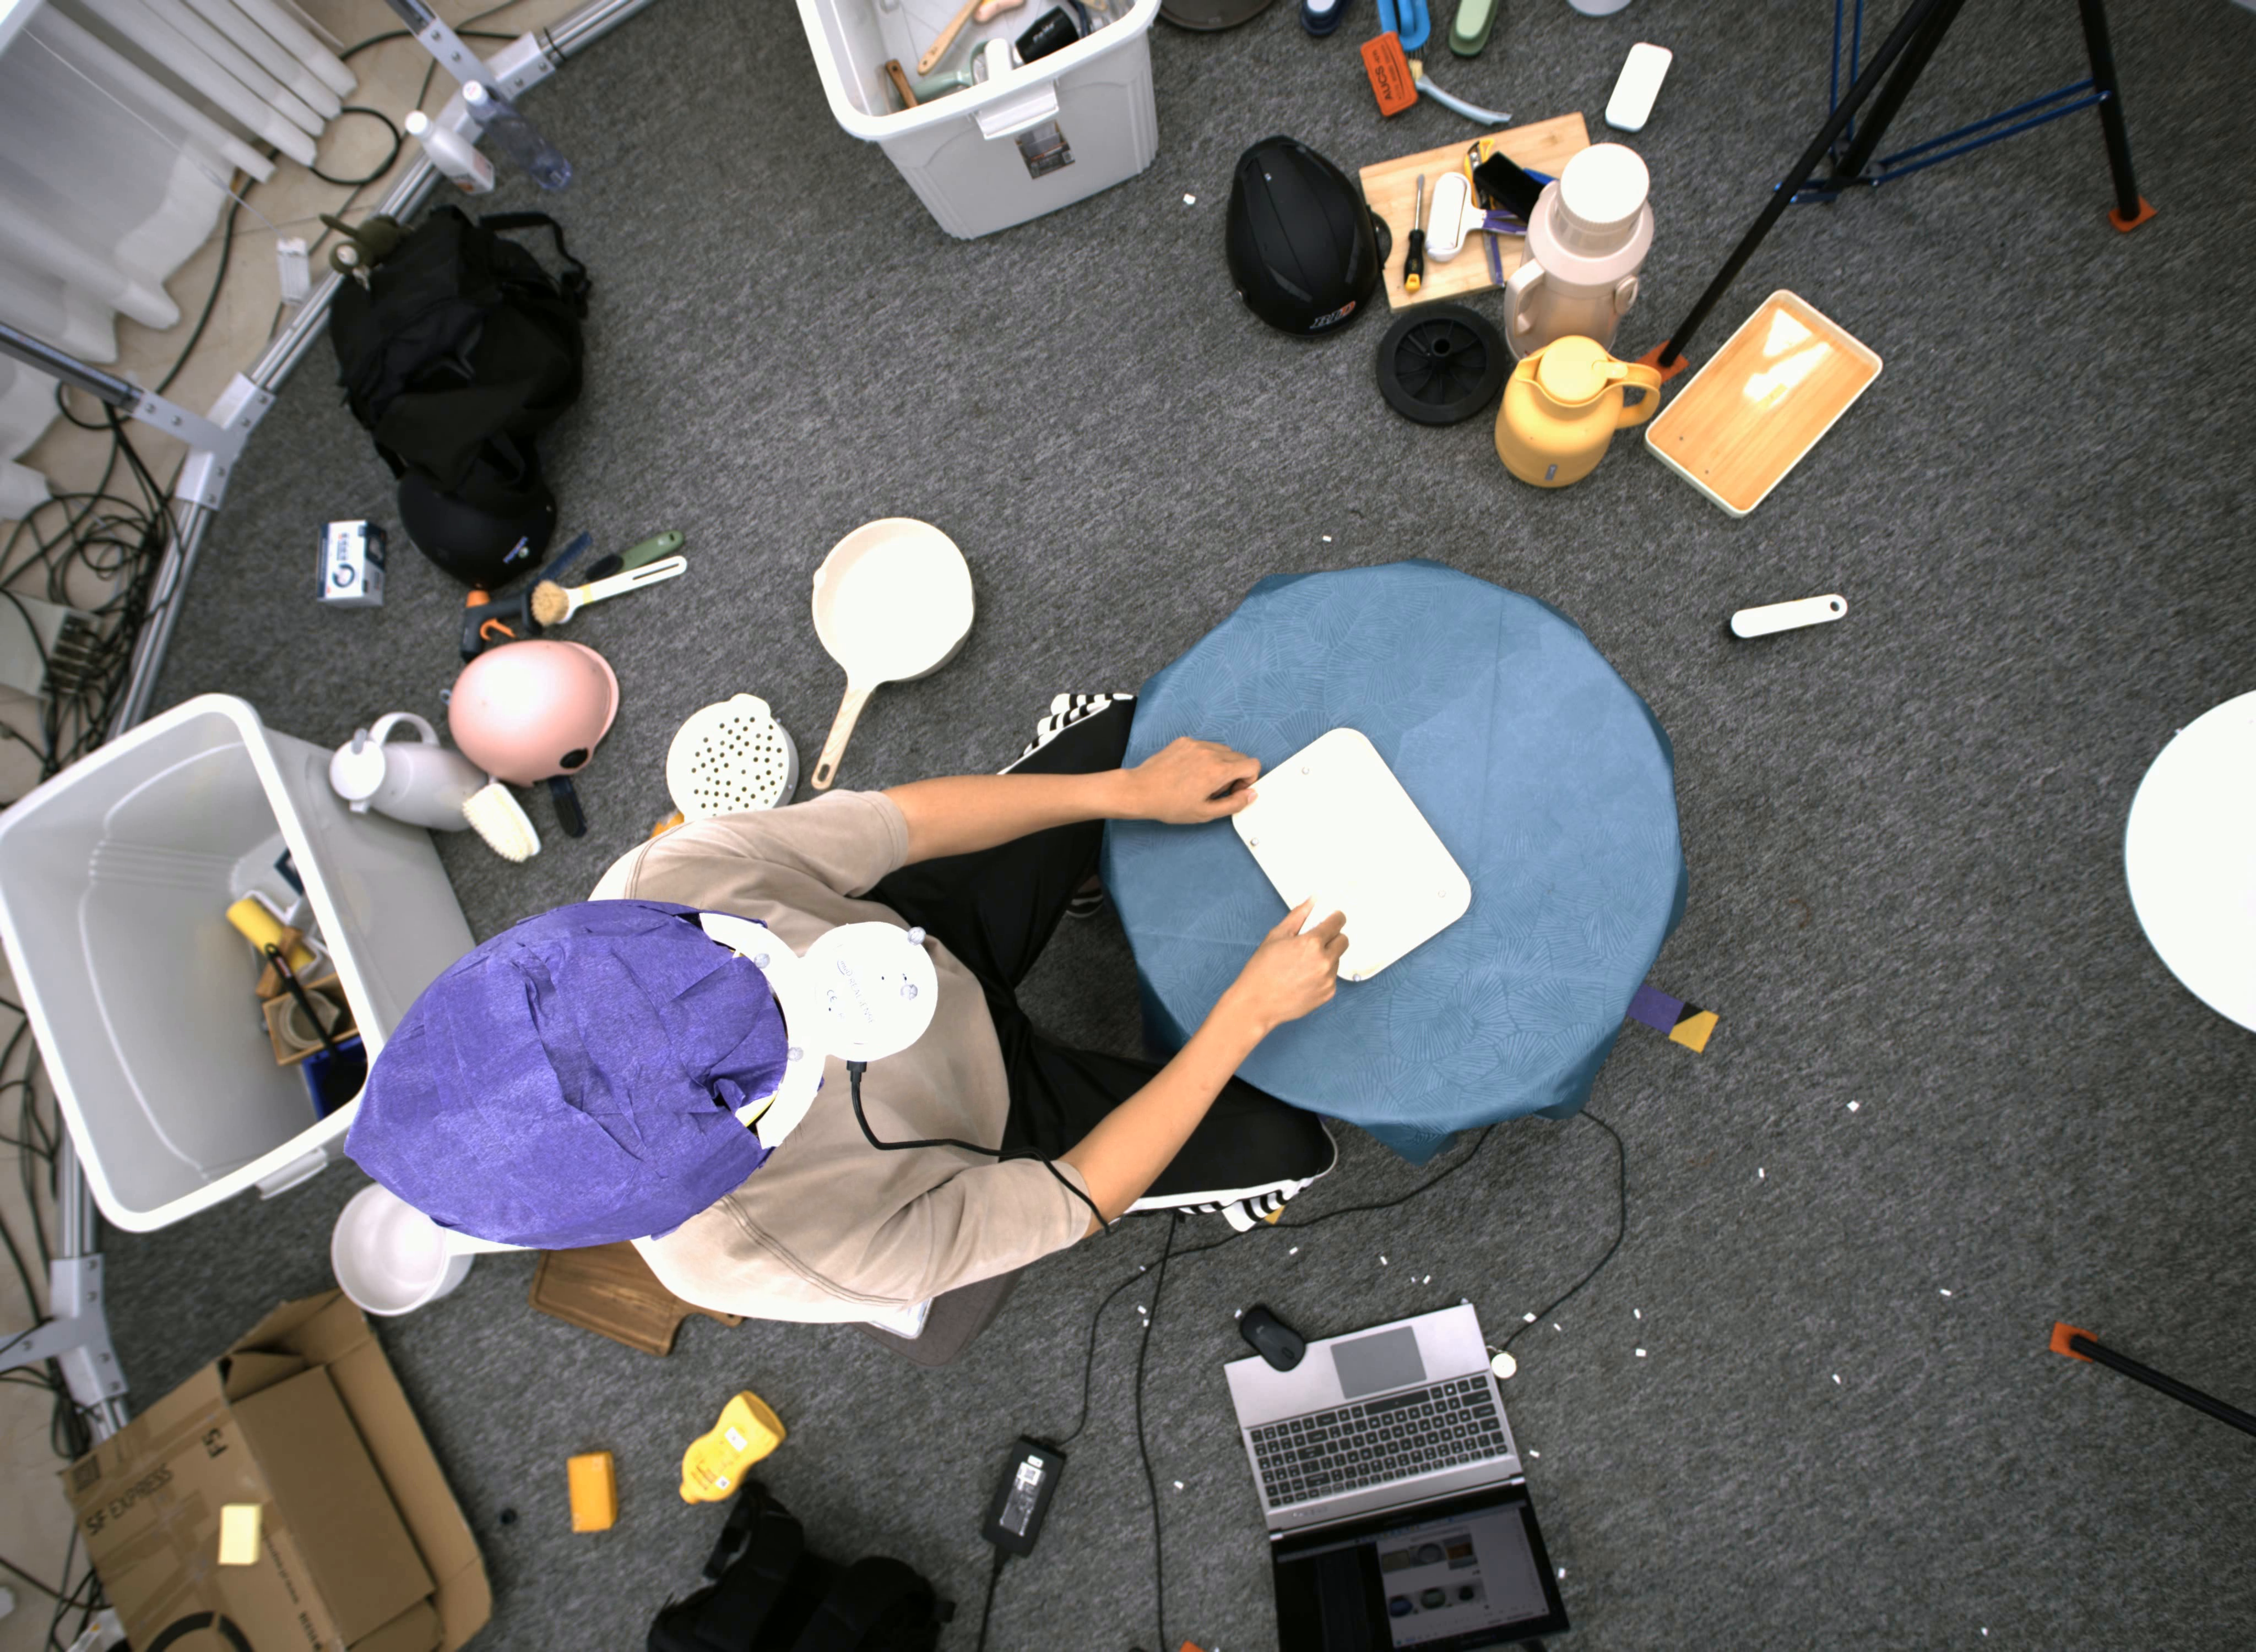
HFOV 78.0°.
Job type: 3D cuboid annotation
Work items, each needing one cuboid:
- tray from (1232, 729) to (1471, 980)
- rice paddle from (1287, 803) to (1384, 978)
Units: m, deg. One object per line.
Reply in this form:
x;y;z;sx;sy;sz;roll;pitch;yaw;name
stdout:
0.235;0.029;1.461;0.172;0.017;0.238;-35;81;6;tray
0.207;0.058;1.401;0.069;0.030;0.201;22;65;6;rice paddle
